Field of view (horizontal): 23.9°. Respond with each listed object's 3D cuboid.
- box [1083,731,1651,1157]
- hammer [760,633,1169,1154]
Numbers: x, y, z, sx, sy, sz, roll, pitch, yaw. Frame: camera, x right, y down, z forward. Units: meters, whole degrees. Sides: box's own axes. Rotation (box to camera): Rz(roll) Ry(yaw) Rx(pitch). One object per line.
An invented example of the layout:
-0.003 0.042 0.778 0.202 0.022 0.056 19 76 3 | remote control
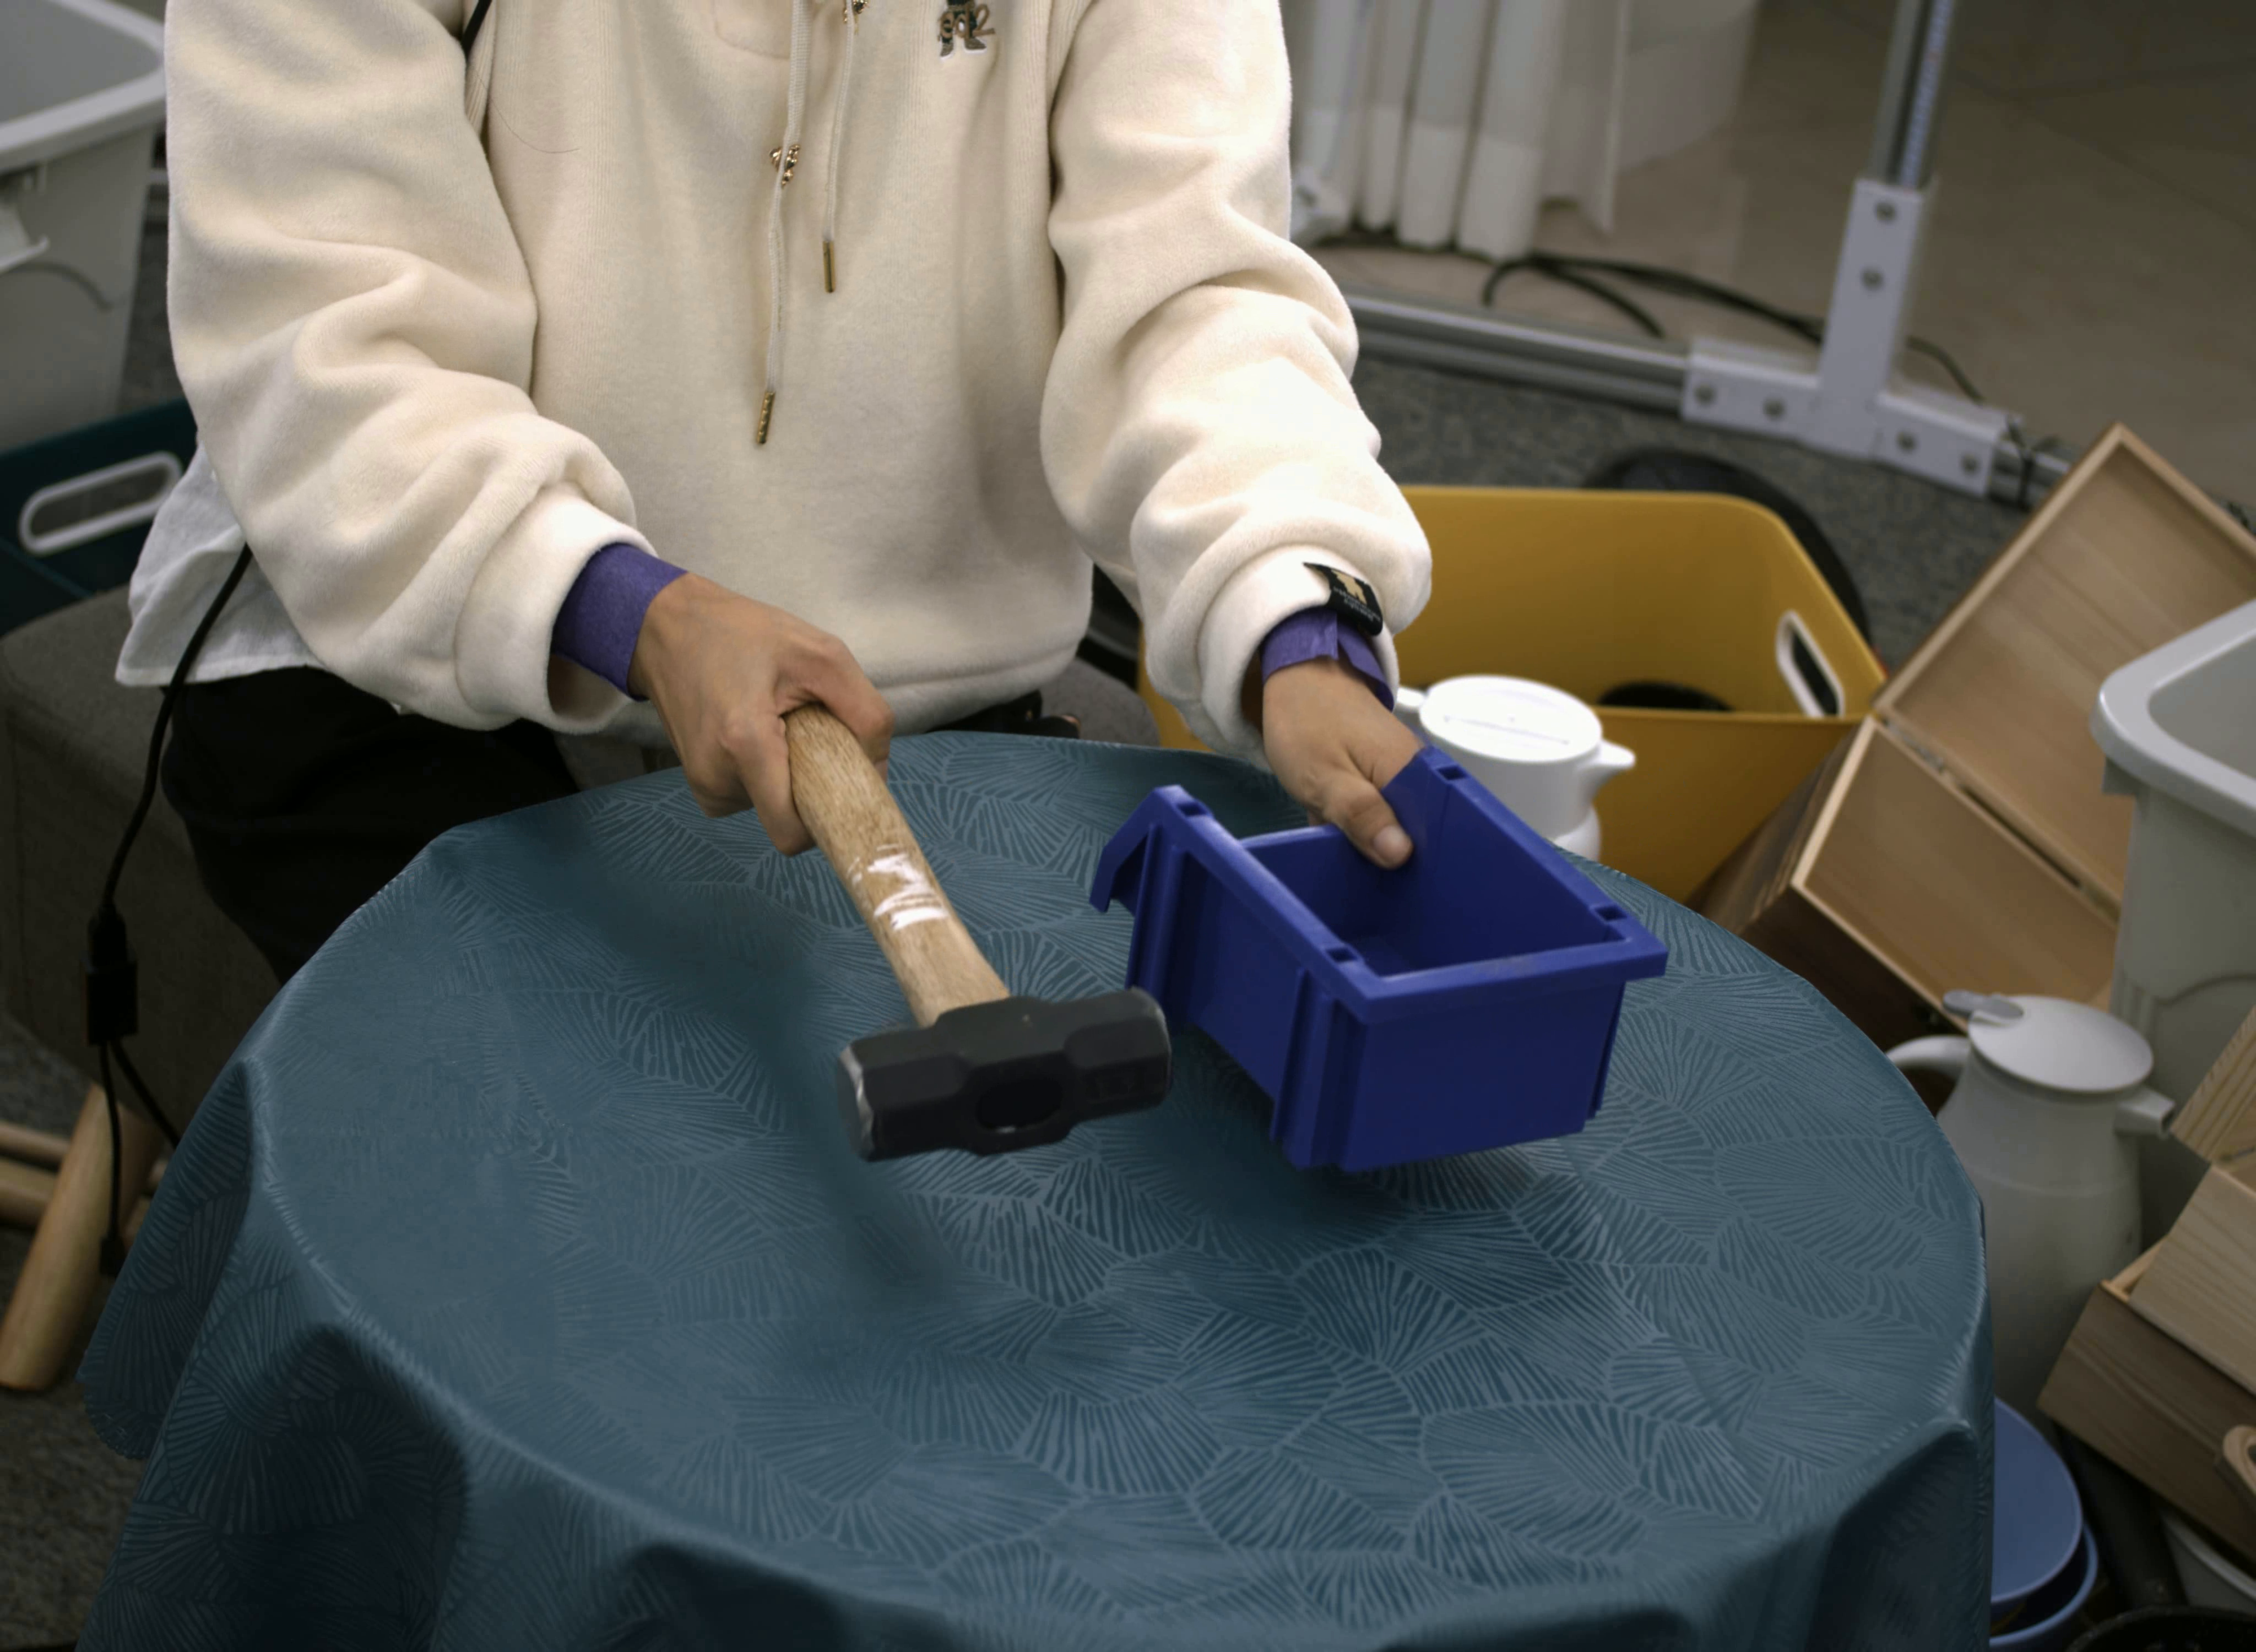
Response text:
0.077 0.036 1.848 0.123 0.081 0.181 -7 33 -27 | box
-0.079 0.014 1.827 0.107 0.038 0.308 -10 31 -13 | hammer
